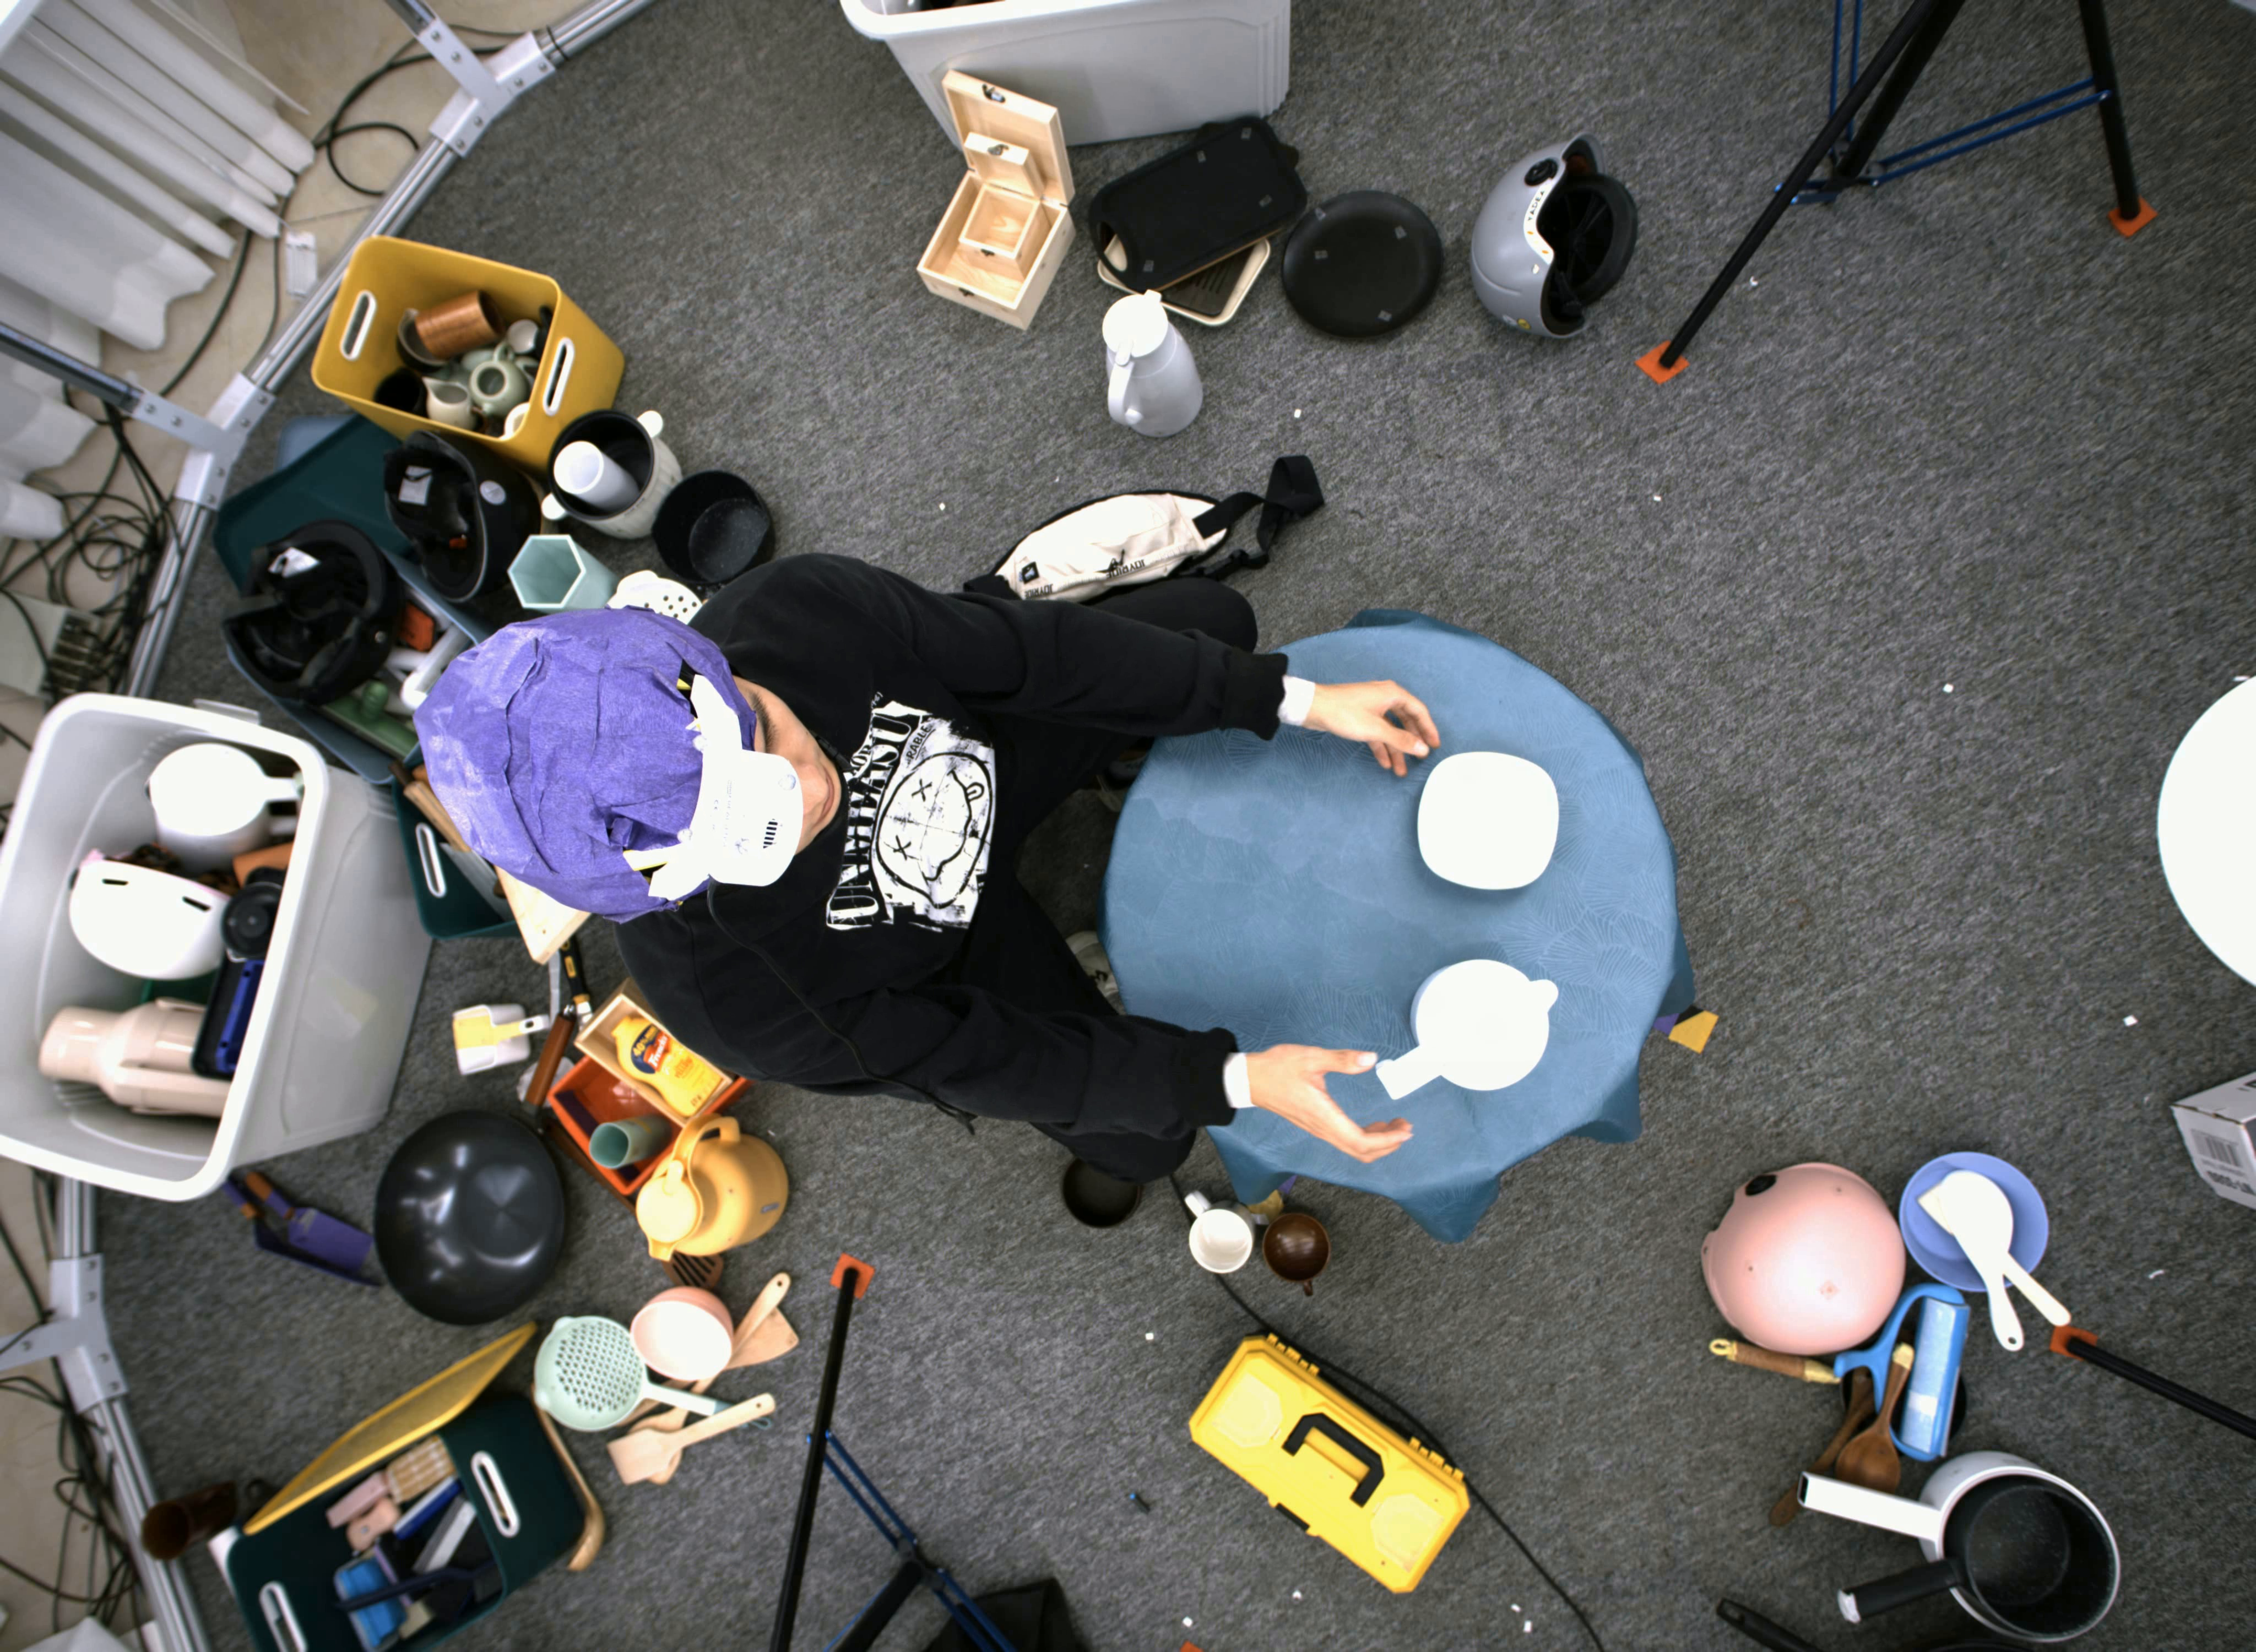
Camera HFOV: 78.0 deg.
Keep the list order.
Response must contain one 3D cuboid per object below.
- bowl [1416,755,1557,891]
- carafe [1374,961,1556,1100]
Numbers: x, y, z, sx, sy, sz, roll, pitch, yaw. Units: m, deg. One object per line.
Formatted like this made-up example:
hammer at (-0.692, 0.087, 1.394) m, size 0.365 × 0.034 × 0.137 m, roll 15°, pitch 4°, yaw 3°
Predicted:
bowl at (0.368, -0.003, 1.420) m, size 0.152 × 0.058 × 0.151 m, roll -1°, pitch 86°, yaw 11°
carafe at (0.316, 0.196, 1.311) m, size 0.174 × 0.269 × 0.123 m, roll -33°, pitch 82°, yaw 6°
